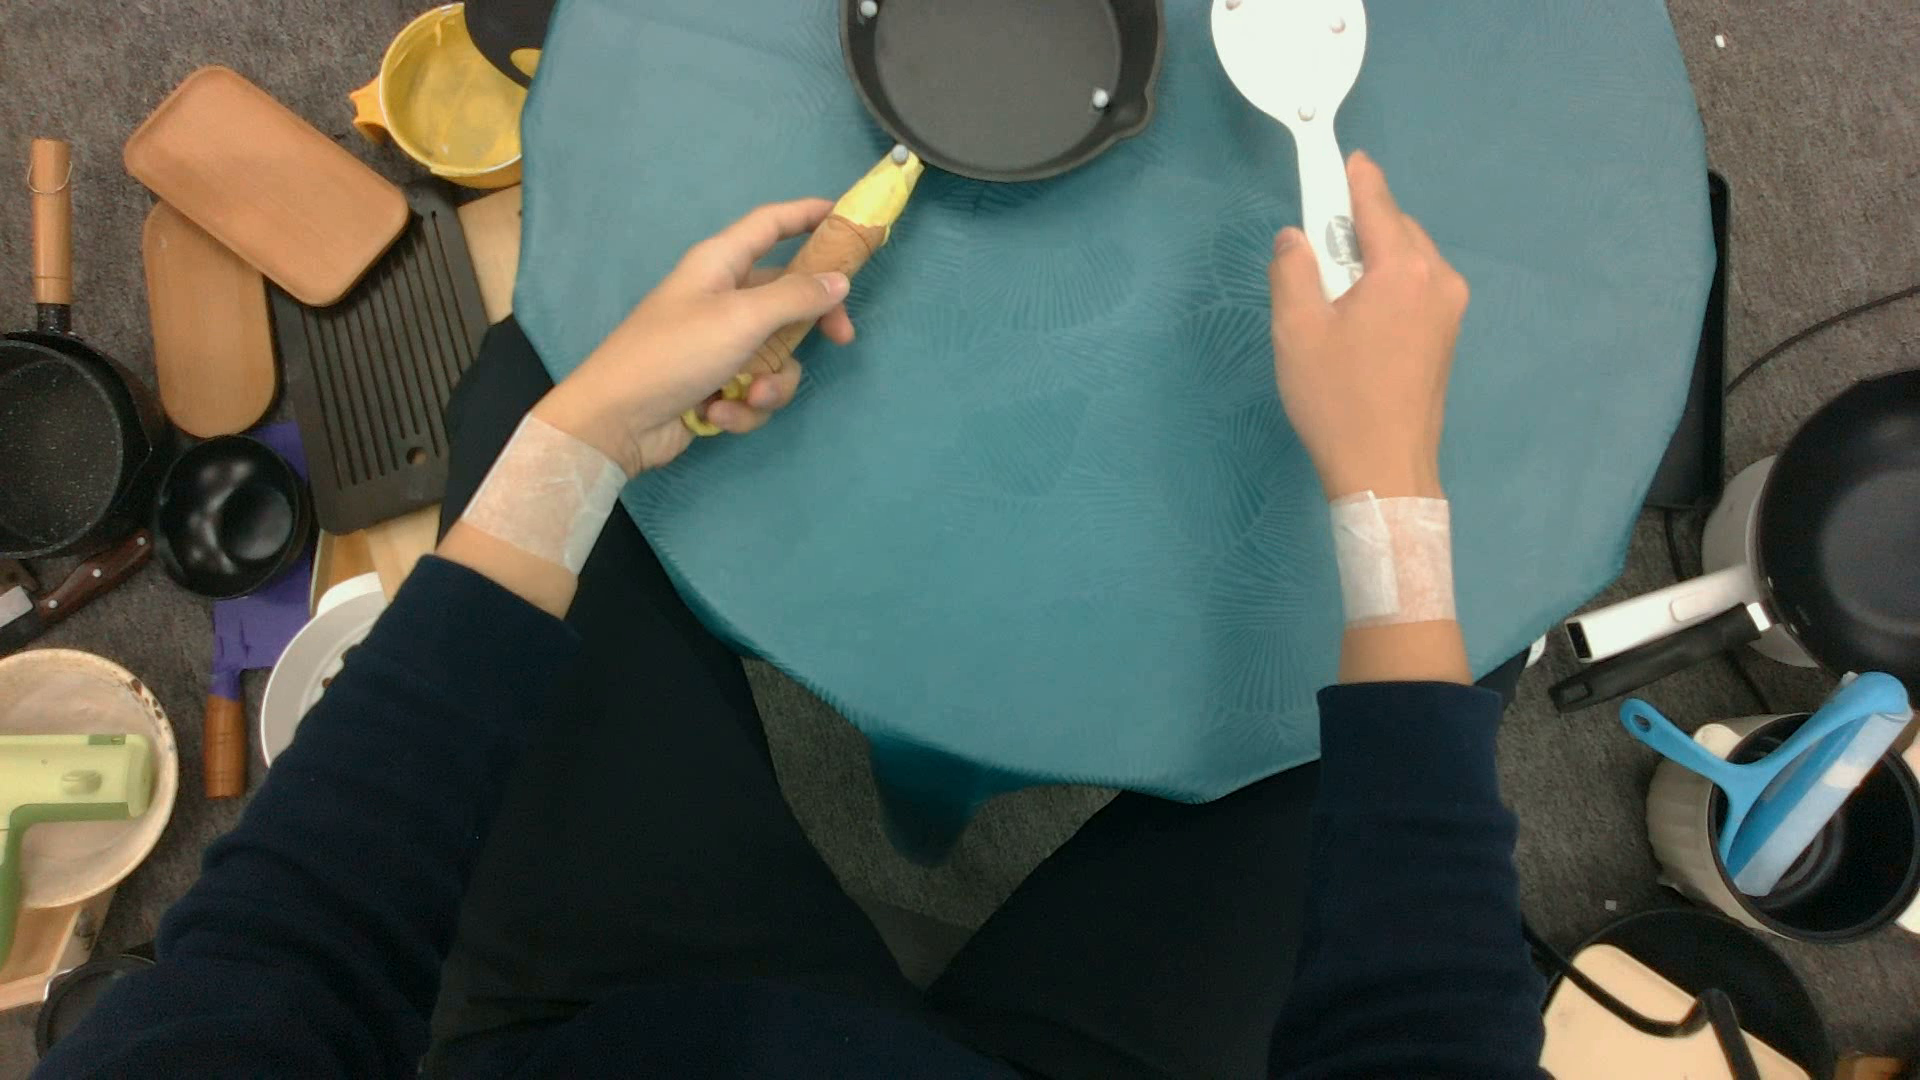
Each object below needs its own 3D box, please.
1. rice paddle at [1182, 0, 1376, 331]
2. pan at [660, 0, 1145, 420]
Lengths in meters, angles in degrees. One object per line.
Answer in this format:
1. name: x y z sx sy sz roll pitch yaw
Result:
1. rice paddle: 0.149 -0.194 0.630 0.069 0.029 0.206 -11 72 6
2. pan: -0.038 -0.186 0.656 0.169 0.049 0.325 36 80 0
